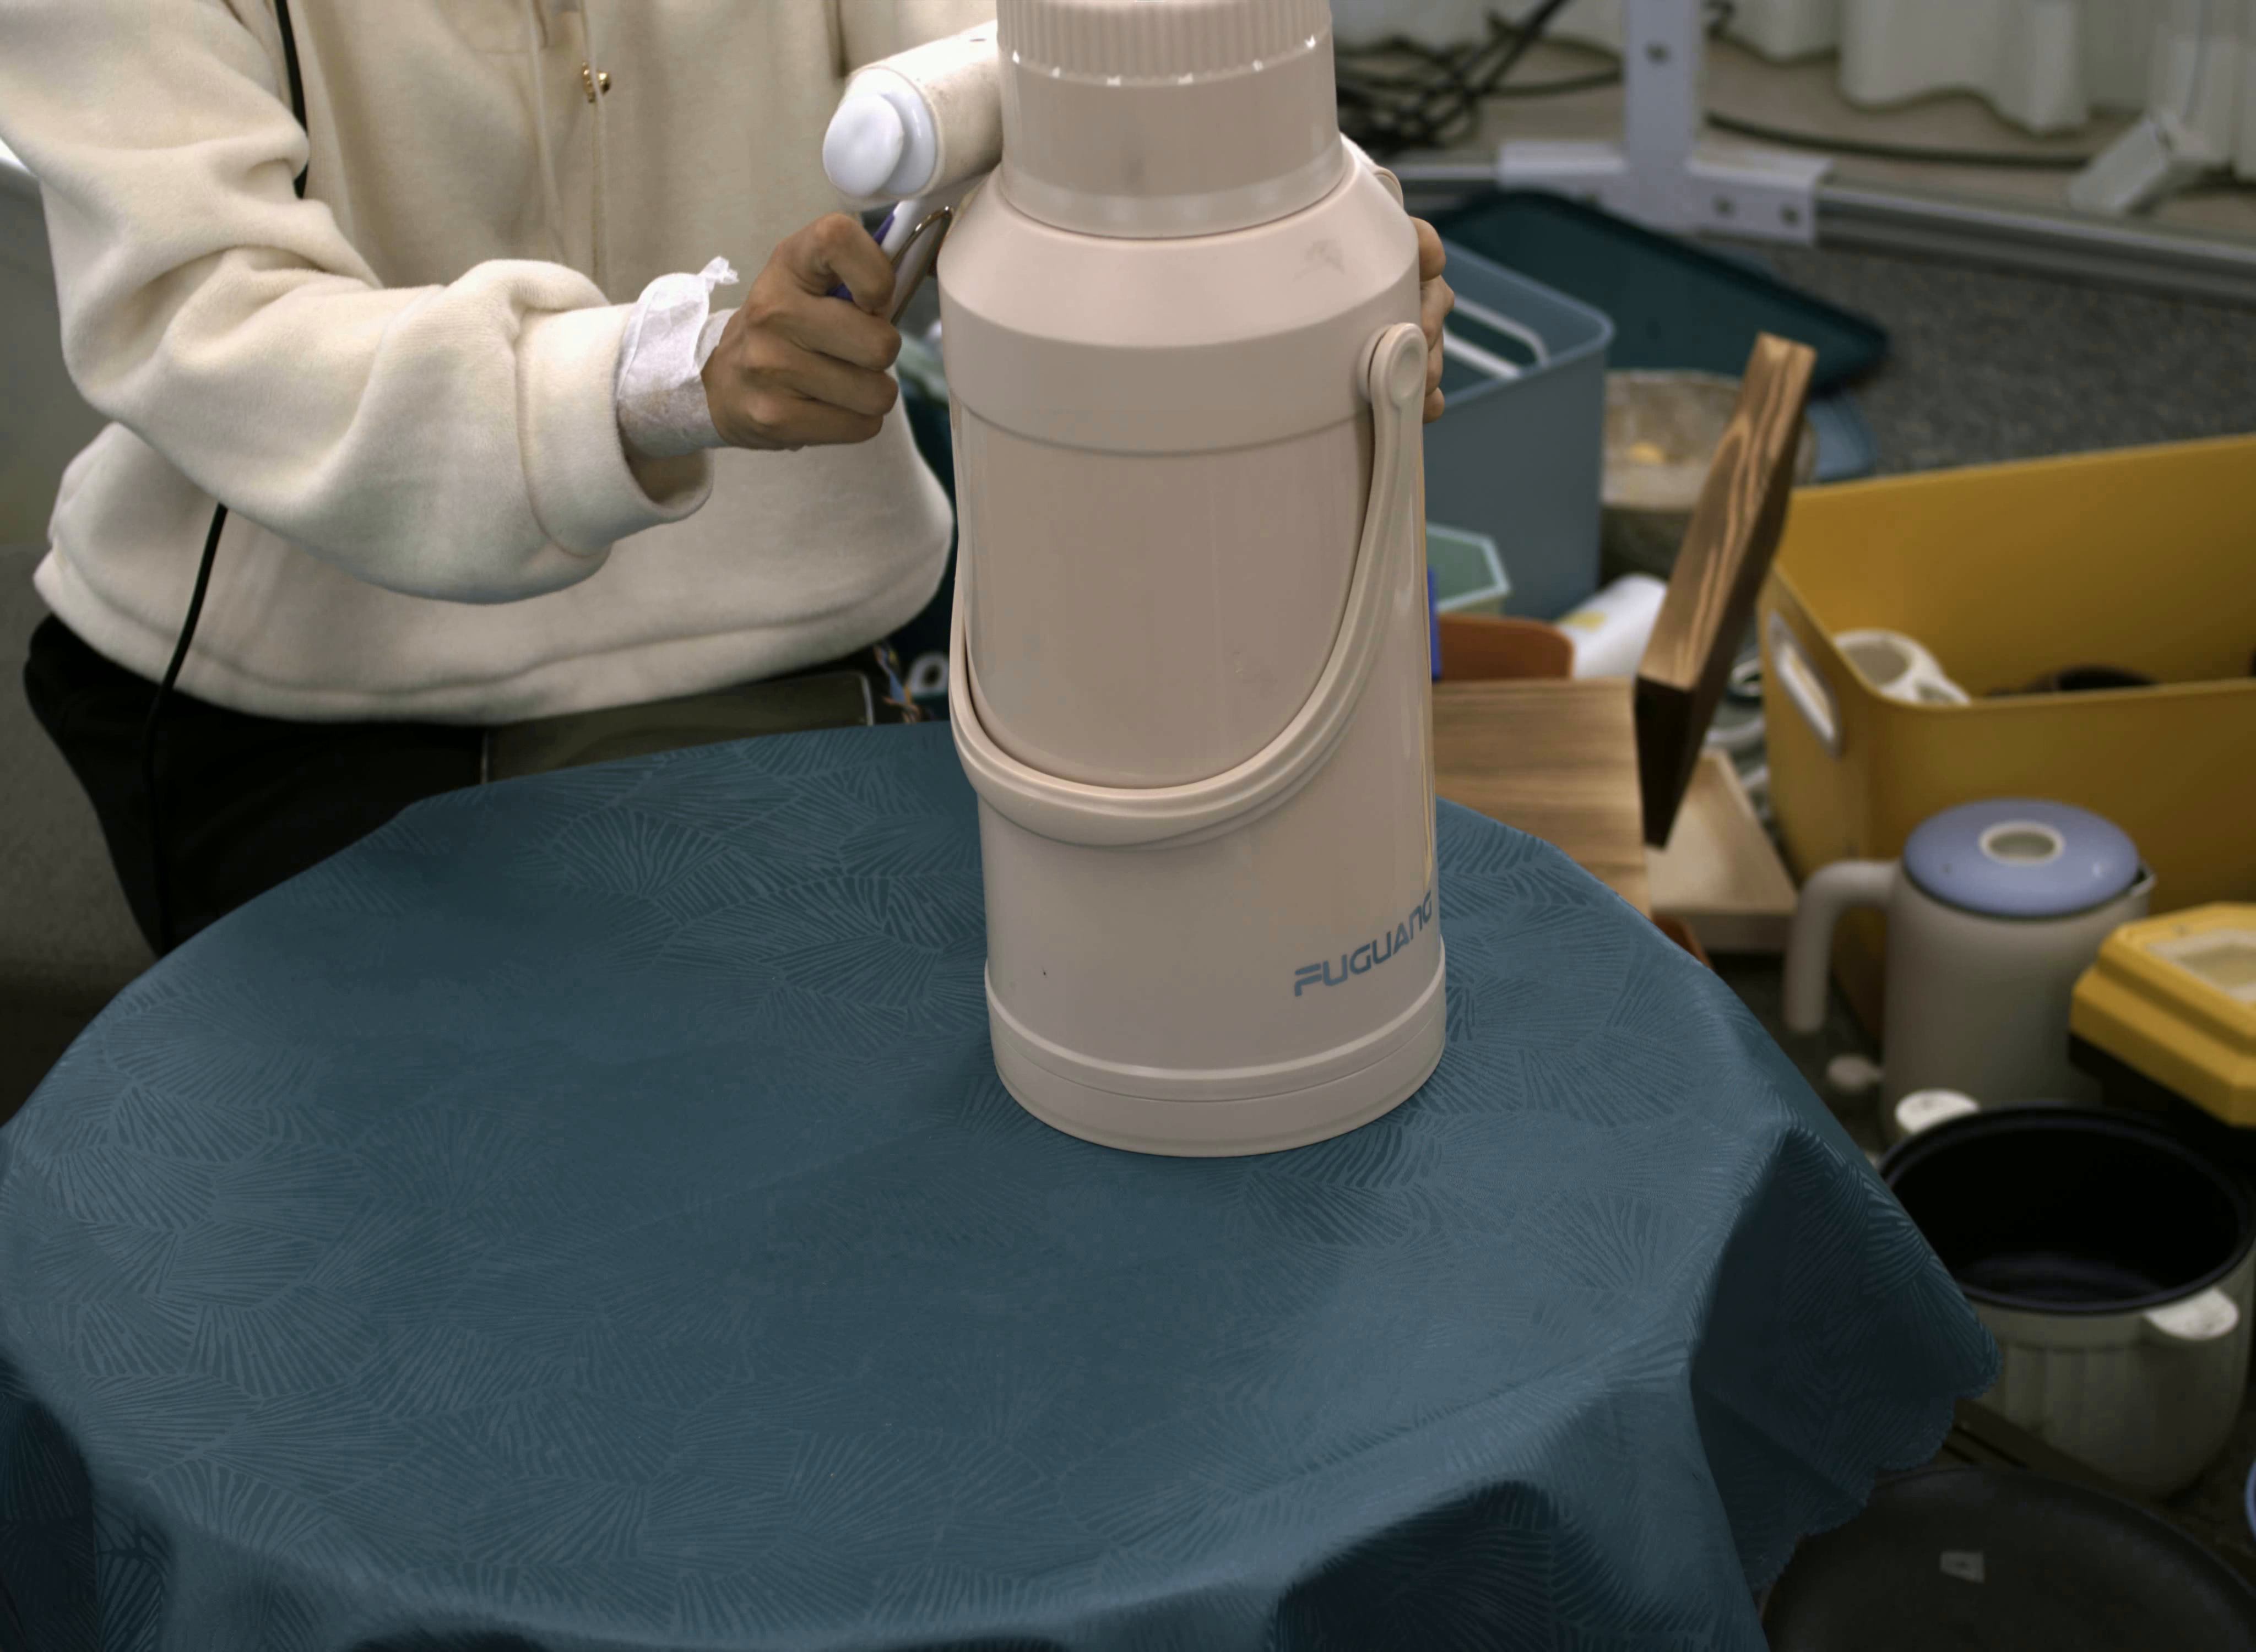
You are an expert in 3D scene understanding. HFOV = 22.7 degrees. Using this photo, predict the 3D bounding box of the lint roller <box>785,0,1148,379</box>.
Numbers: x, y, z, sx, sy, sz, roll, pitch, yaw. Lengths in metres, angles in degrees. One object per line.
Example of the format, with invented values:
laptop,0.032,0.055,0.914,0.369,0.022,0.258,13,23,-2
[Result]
lint roller,-0.075,-0.214,1.904,0.134,0.050,0.178,-28,-8,-41

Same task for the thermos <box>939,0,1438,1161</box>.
thermos,0.030,-0.105,1.872,0.174,0.402,0.210,14,31,32
